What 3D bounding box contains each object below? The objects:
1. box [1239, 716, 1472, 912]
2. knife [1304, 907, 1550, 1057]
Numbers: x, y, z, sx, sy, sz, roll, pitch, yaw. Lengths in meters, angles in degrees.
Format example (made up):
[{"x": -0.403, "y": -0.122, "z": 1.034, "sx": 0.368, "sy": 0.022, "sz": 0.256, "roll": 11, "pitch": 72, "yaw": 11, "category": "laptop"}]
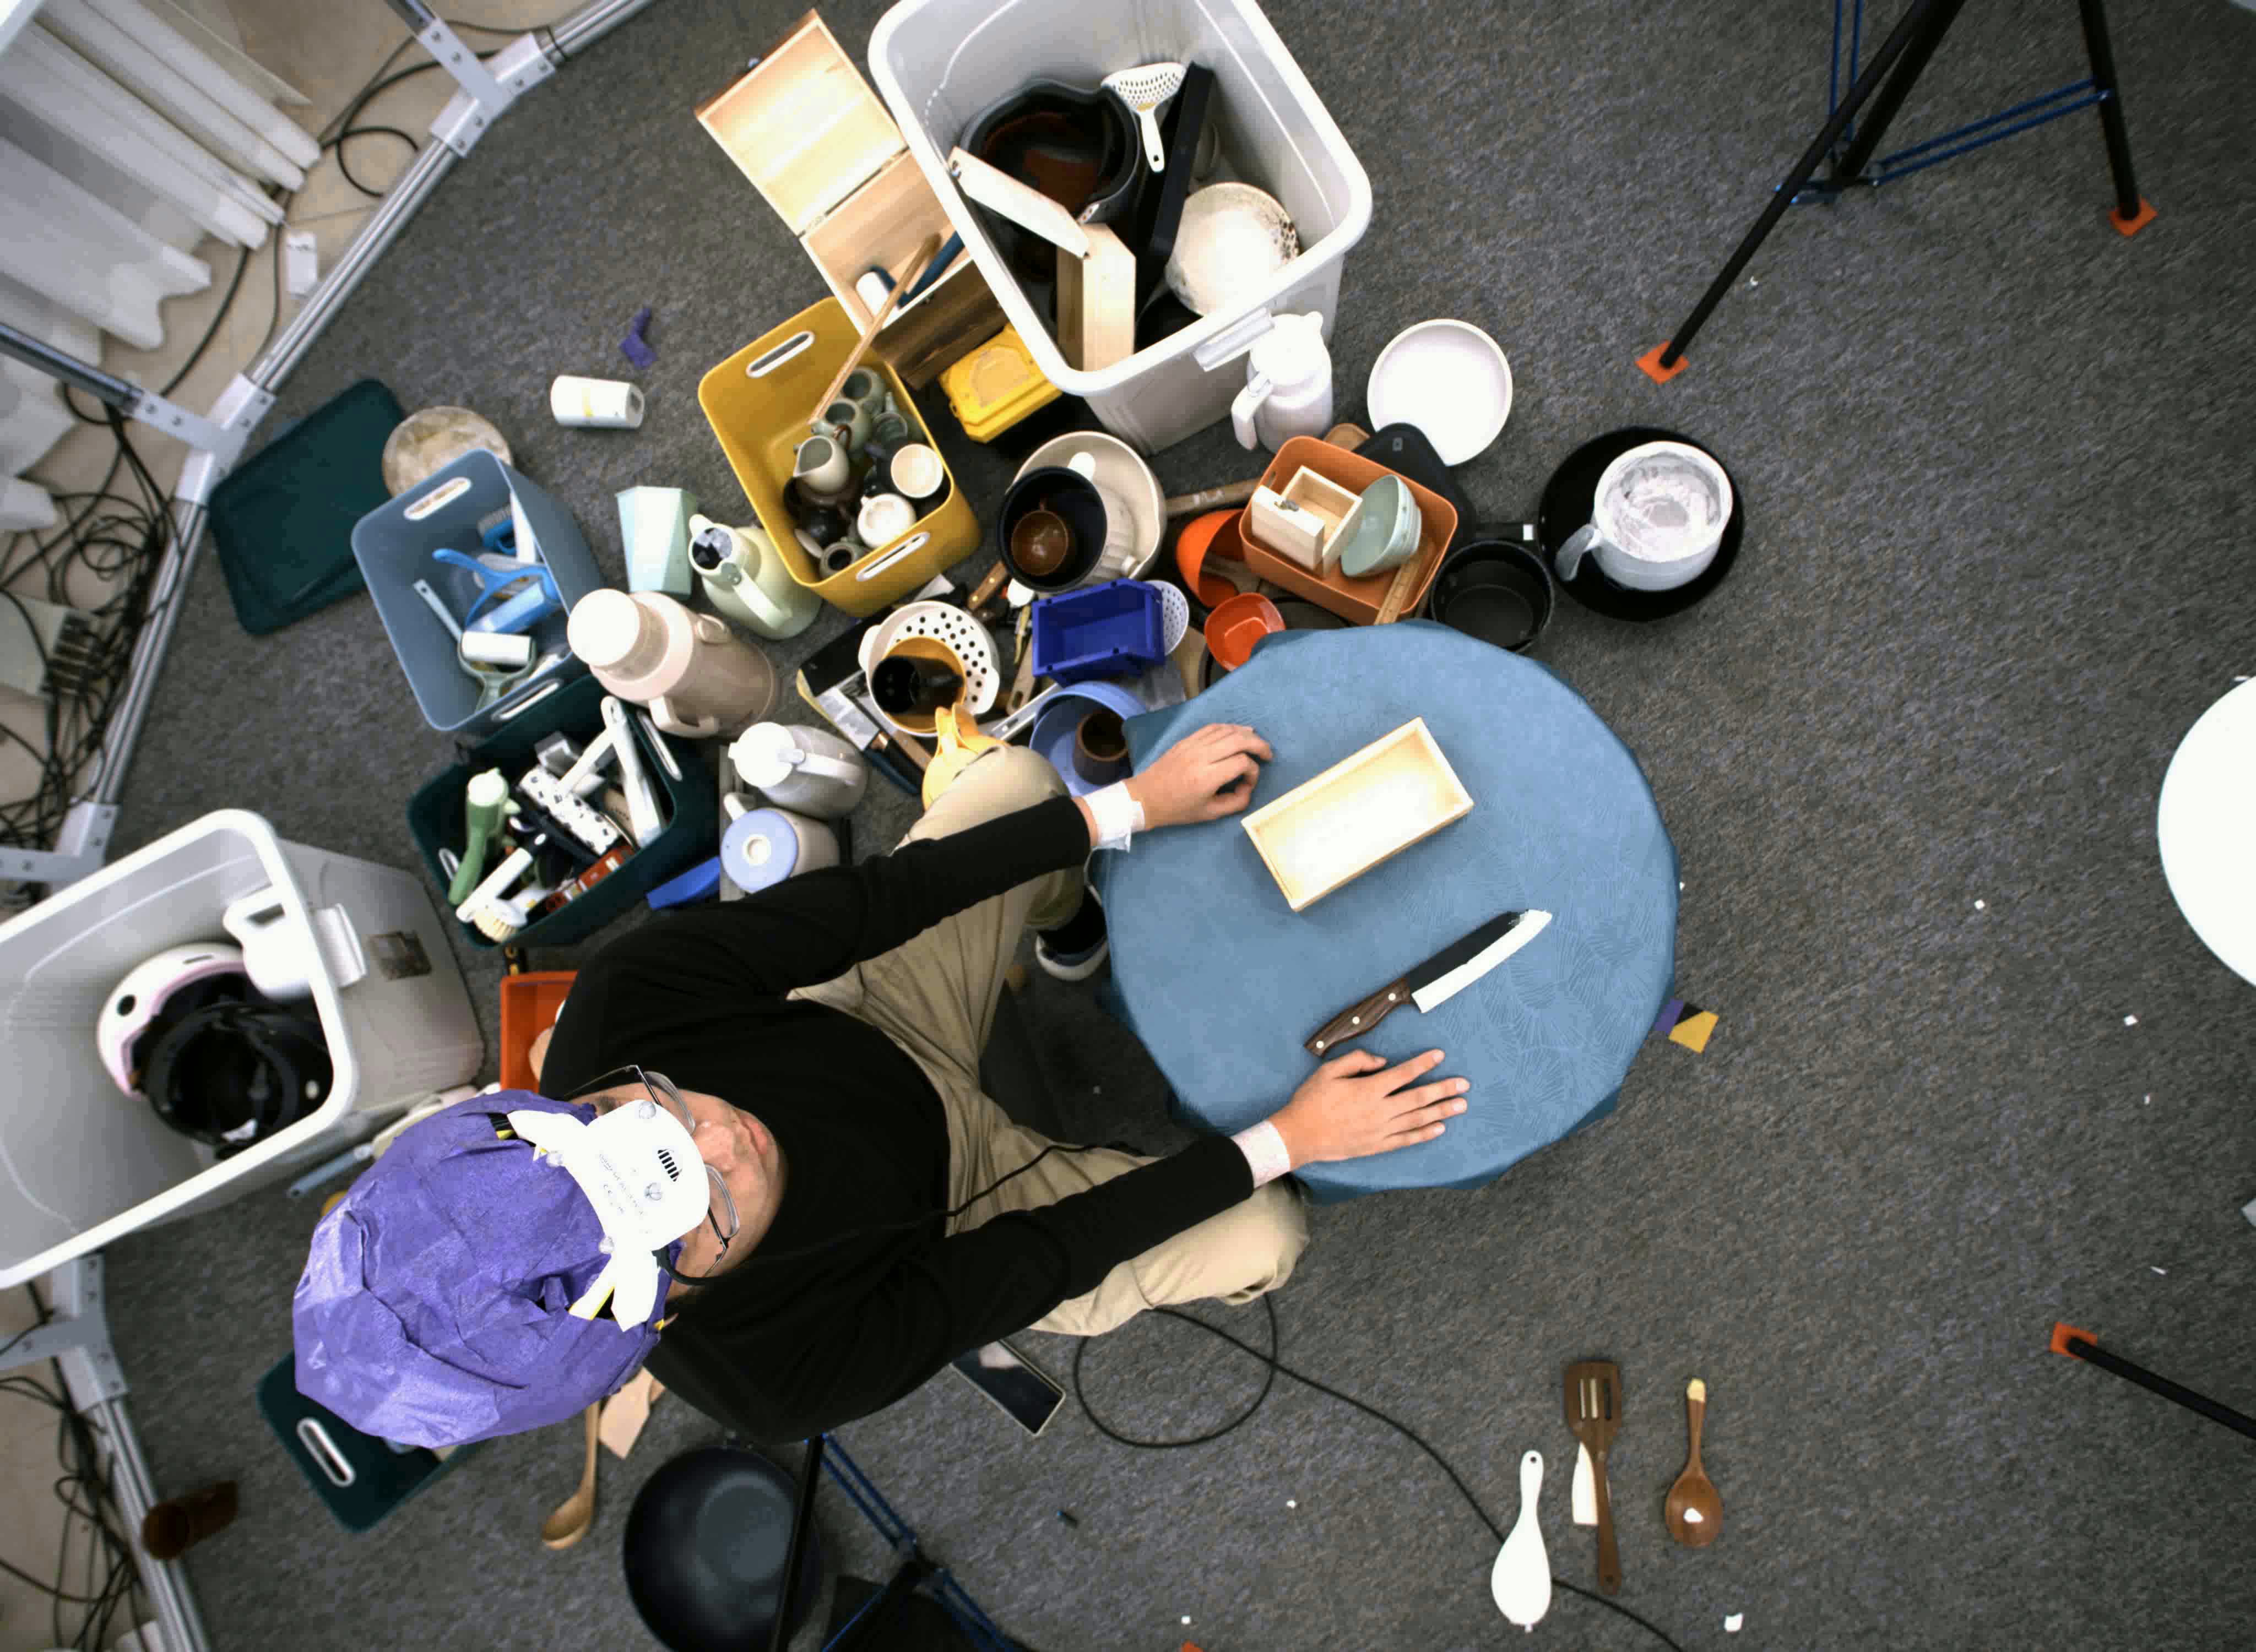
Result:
[{"x": 0.235, "y": -0.011, "z": 1.431, "sx": 0.212, "sy": 0.080, "sz": 0.107, "roll": -31, "pitch": 81, "yaw": 7, "category": "box"}, {"x": 0.313, "y": 0.160, "z": 1.440, "sx": 0.290, "sy": 0.020, "sz": 0.050, "roll": -30, "pitch": 87, "yaw": 5, "category": "knife"}]
